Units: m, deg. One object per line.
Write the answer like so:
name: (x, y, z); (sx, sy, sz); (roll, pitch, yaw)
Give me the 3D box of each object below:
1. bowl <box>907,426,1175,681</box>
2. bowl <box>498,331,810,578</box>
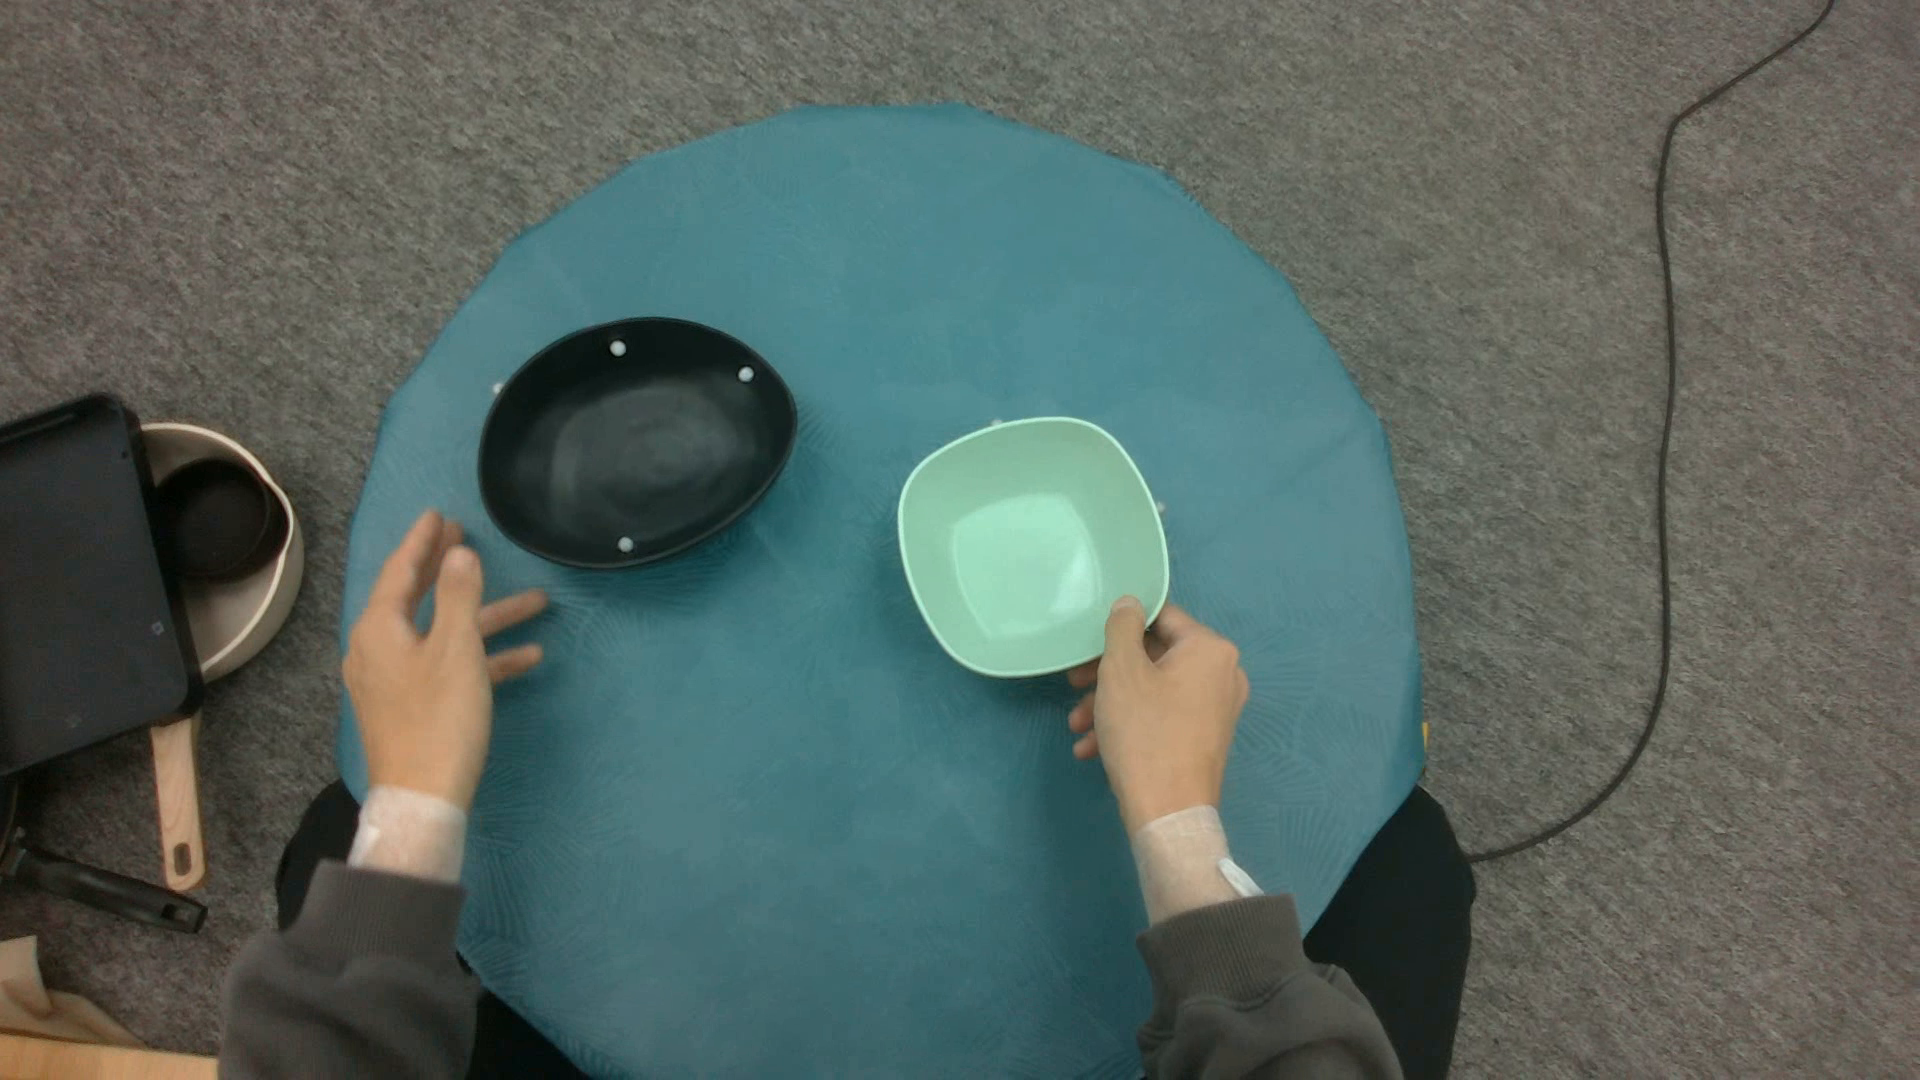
bowl: (0.042, 0.013, 0.762); (0.151, 0.058, 0.152); (1, 71, -2)
bowl: (-0.167, -0.043, 0.771); (0.170, 0.066, 0.137); (-22, 76, -9)
